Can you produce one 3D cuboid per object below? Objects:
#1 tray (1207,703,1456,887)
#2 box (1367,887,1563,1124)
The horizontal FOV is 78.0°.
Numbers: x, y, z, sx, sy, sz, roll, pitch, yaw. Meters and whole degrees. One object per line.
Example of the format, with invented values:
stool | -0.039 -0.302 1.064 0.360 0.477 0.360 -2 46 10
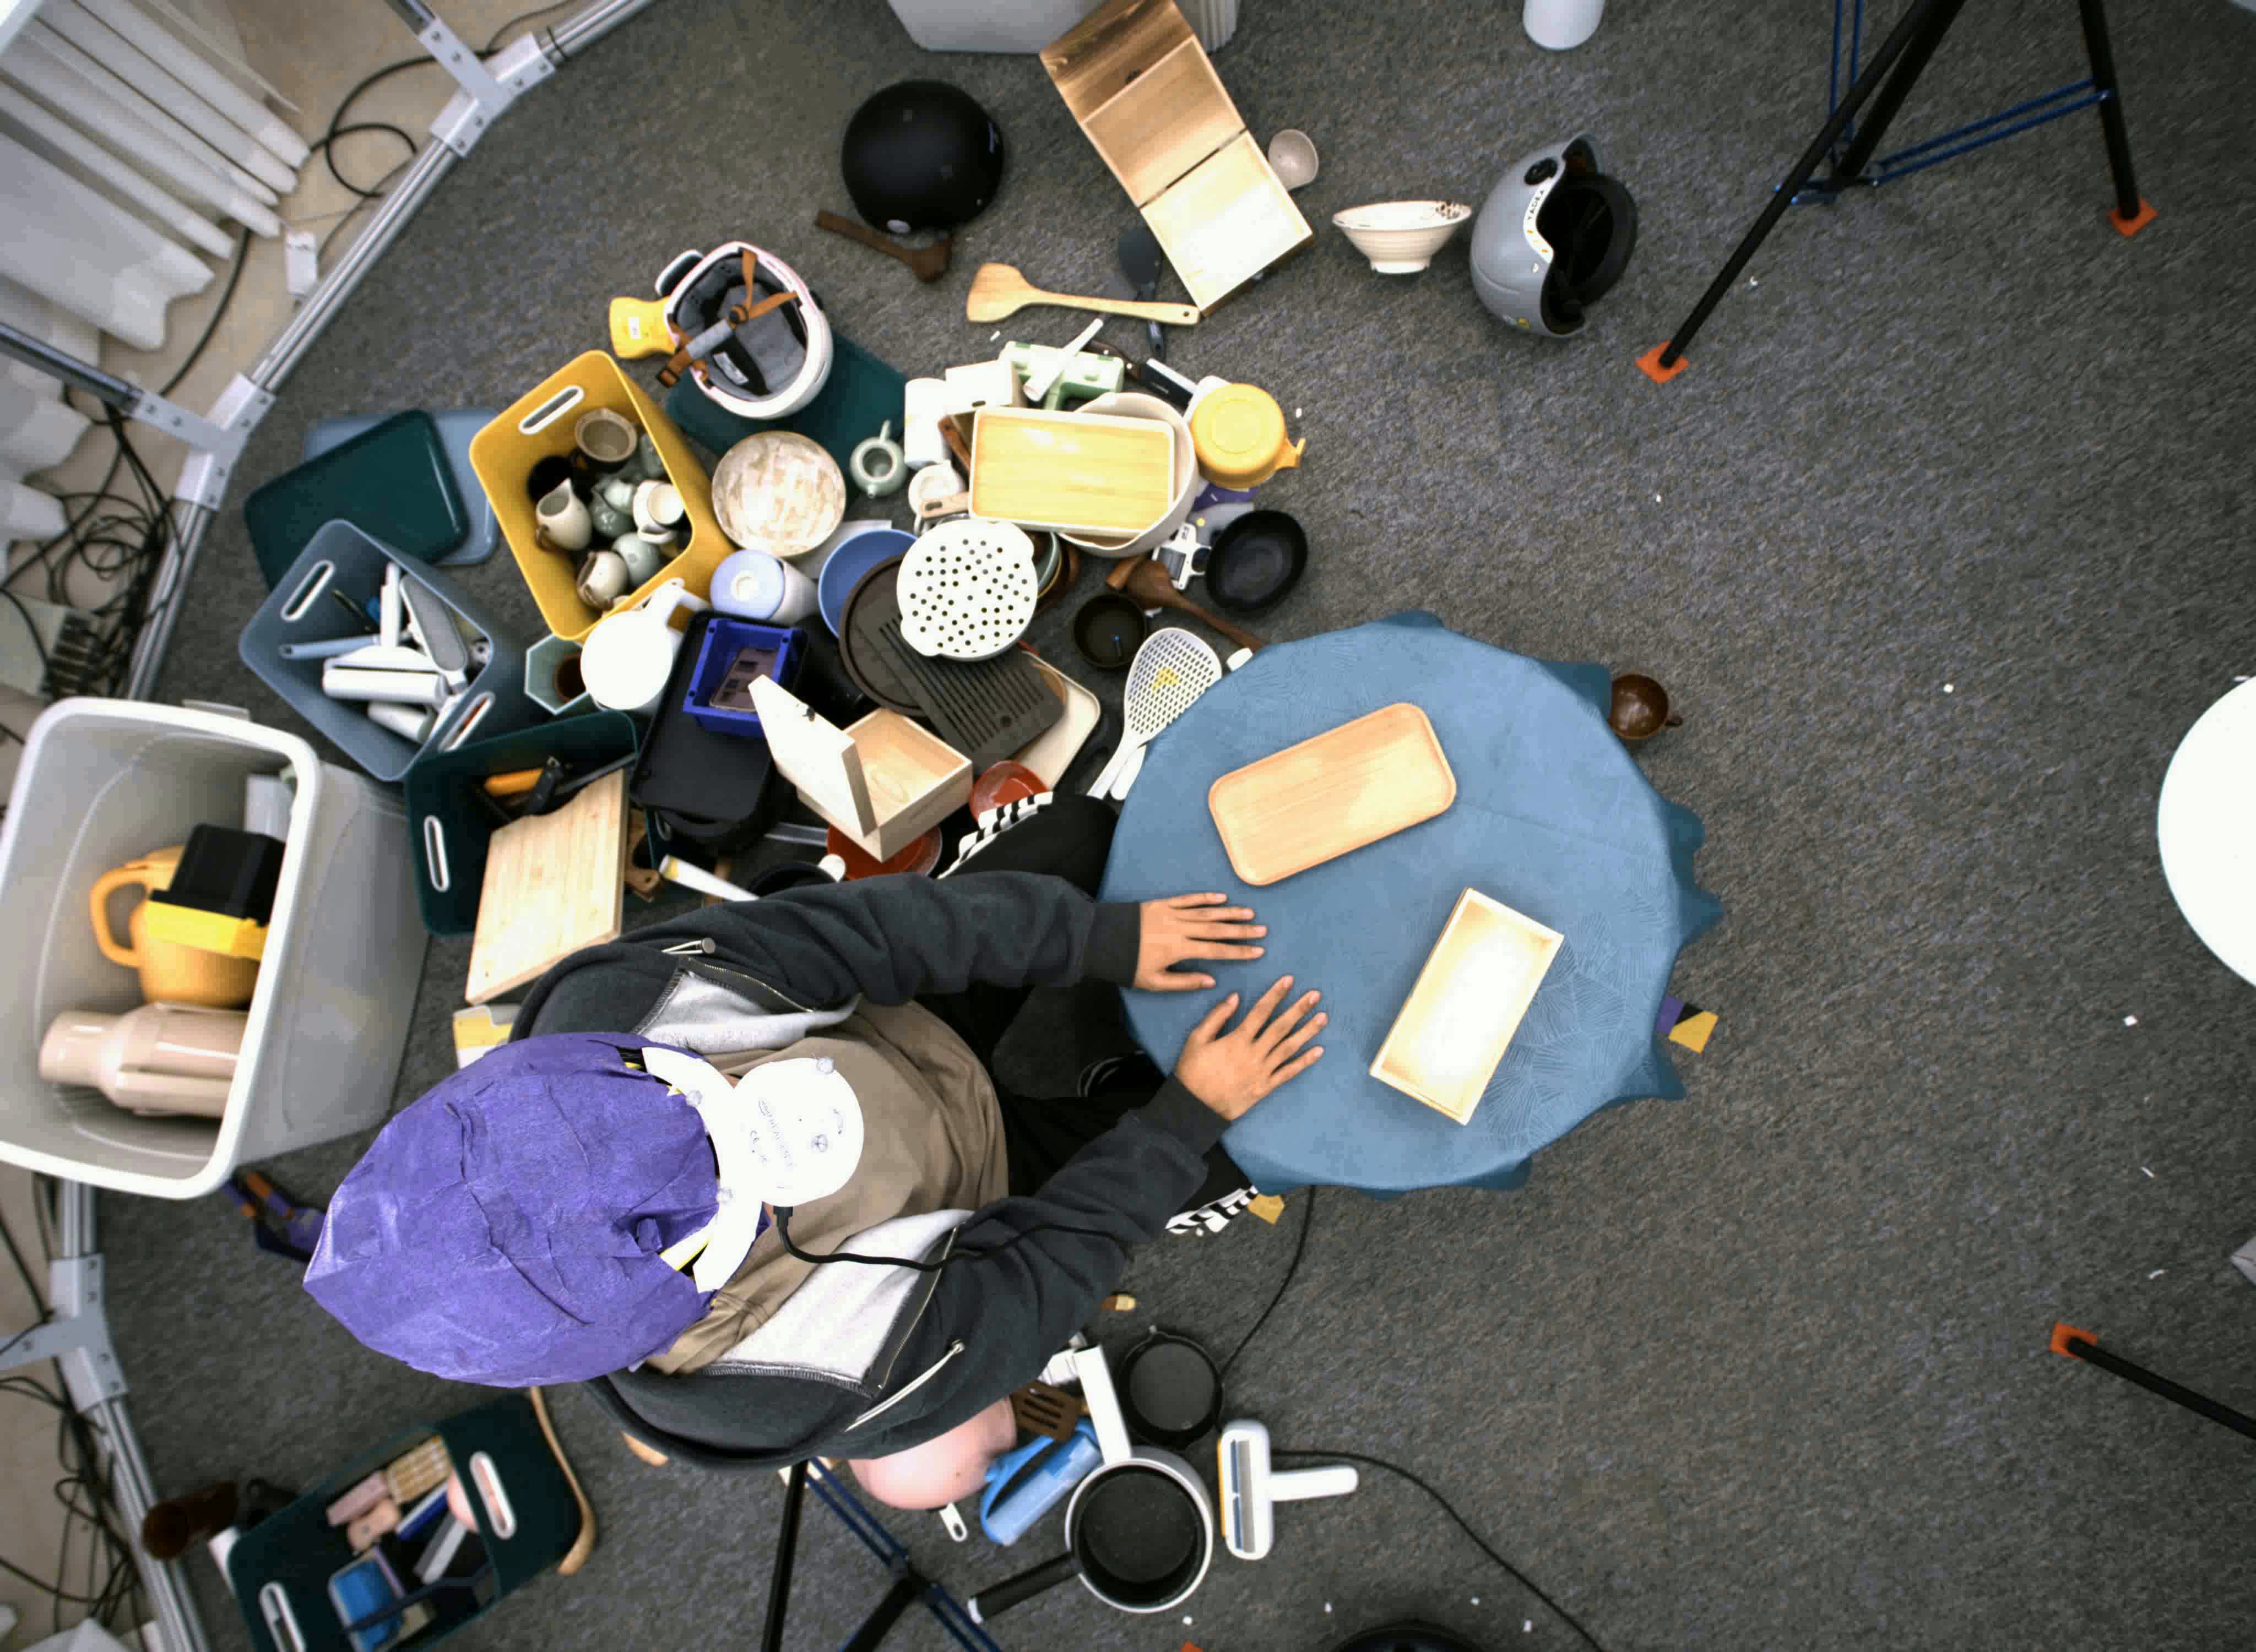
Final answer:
tray | 0.215 -0.034 1.467 0.252 0.023 0.129 -23 80 9
box | 0.340 0.179 1.400 0.107 0.080 0.211 28 92 11
